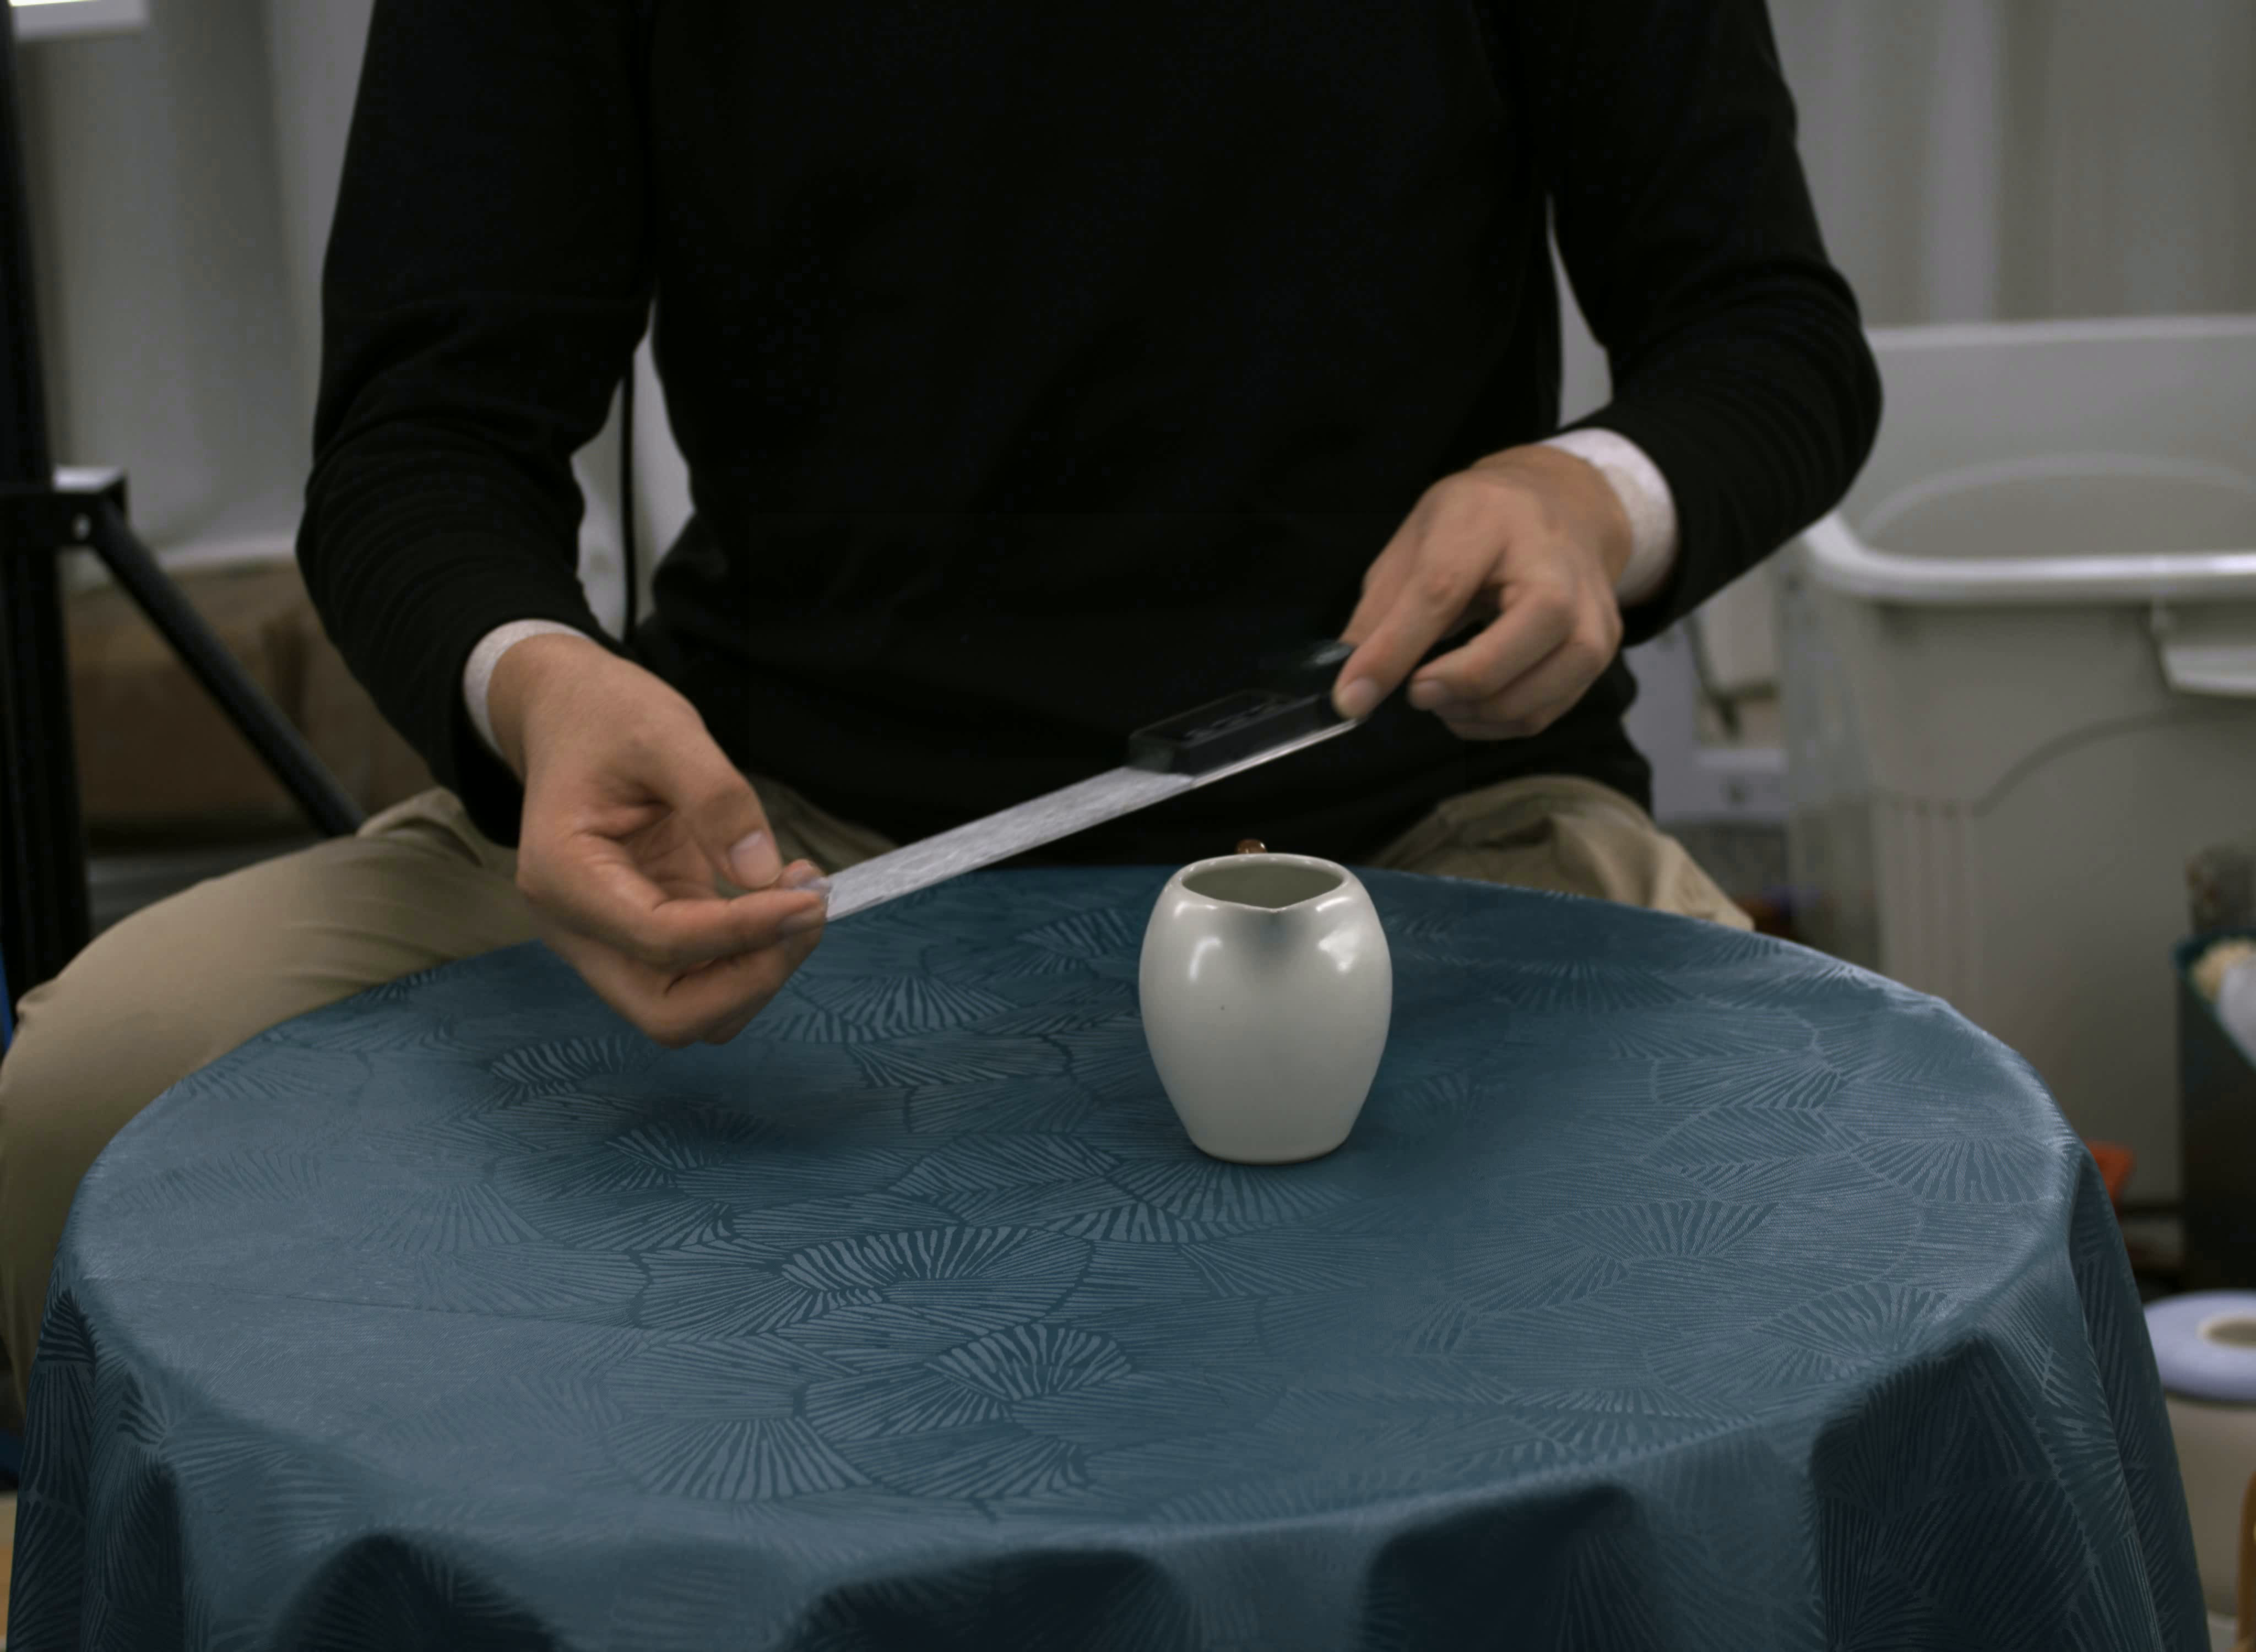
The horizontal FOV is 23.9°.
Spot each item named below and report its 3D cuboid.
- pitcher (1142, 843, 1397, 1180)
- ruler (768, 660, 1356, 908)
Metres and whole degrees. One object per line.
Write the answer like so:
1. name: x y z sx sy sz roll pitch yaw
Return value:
1. pitcher: 0.042 0.054 1.582 0.075 0.088 0.119 2 17 1
2. ruler: -0.017 -0.014 1.649 0.213 0.024 0.039 -19 10 -34
